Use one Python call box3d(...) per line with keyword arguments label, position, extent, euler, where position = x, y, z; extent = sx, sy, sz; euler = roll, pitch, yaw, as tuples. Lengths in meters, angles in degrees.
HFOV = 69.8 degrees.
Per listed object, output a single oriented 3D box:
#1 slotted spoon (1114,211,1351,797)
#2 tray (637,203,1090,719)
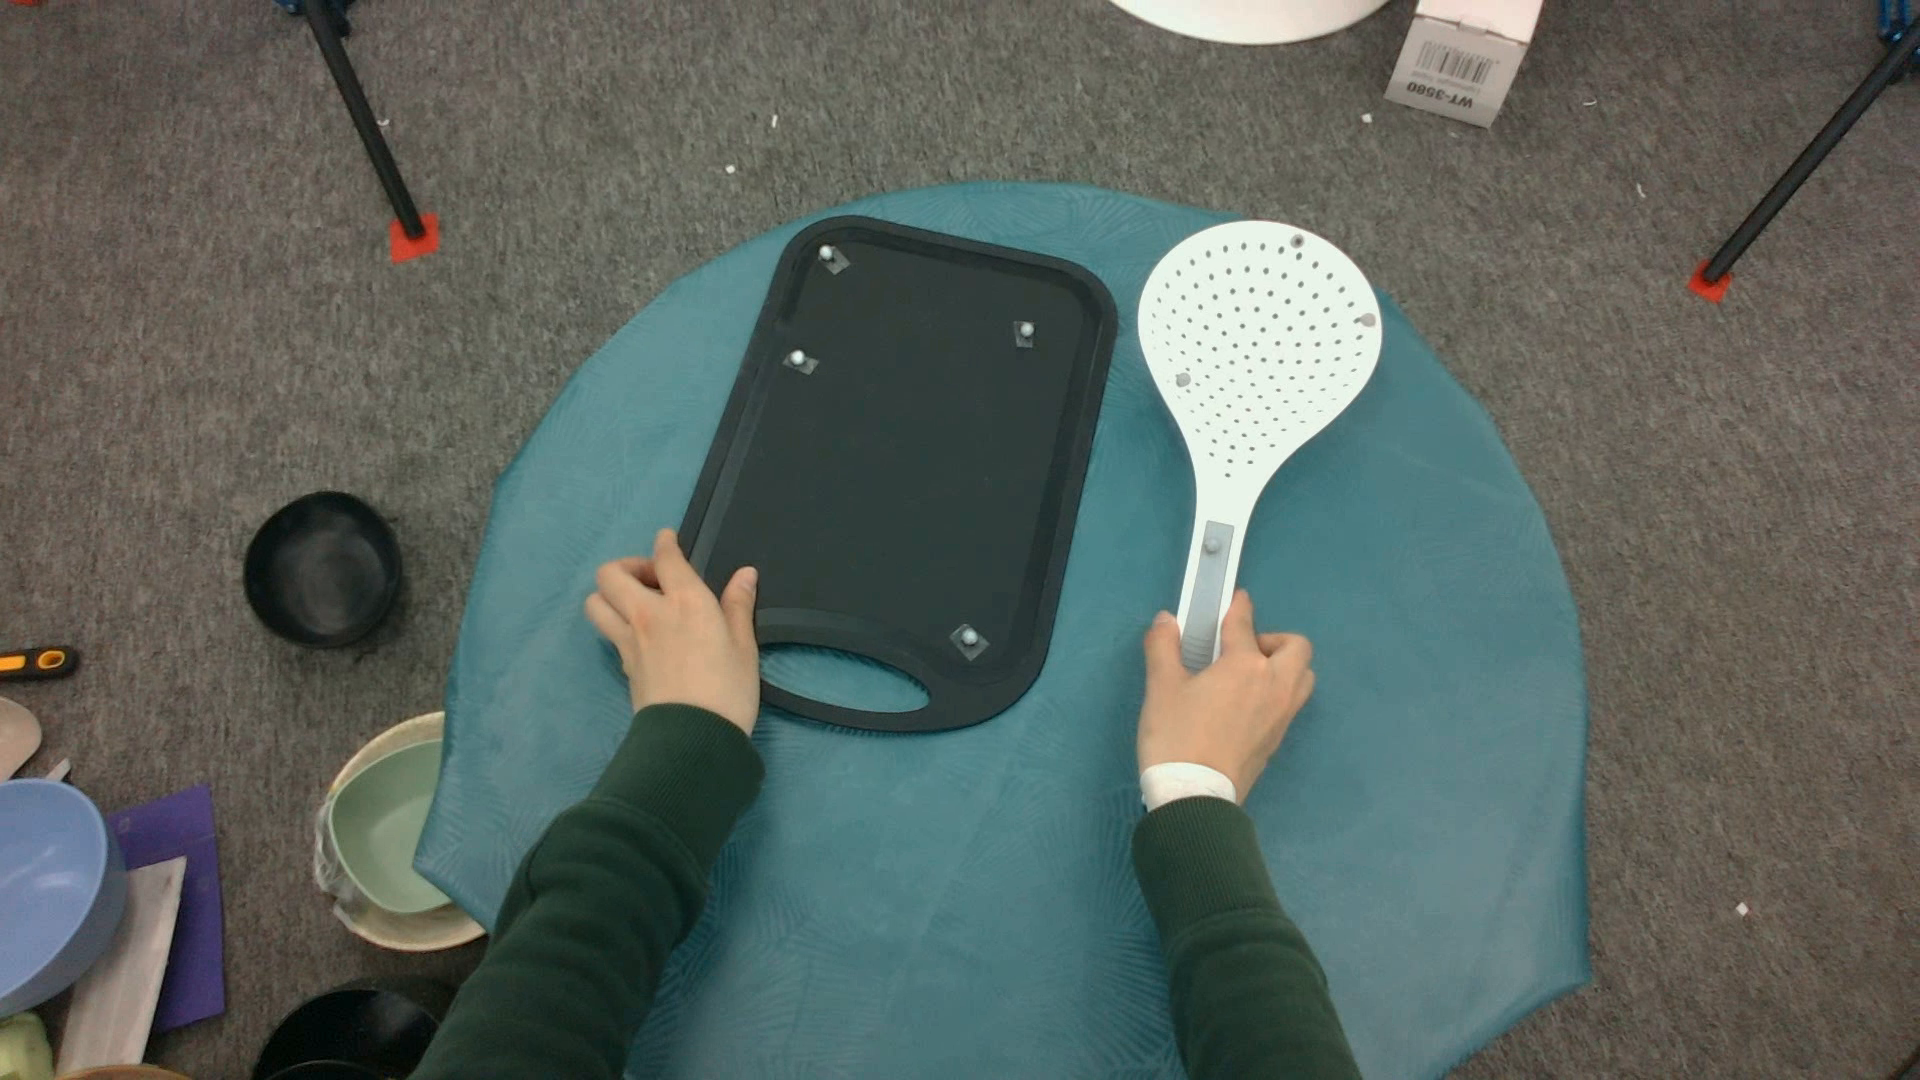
box3d(label="slotted spoon", position=(0.132, -0.031, 0.755), extent=(0.136, 0.045, 0.351), euler=(11, 64, 7))
box3d(label="tray", position=(-0.048, -0.055, 0.777), extent=(0.211, 0.010, 0.327), euler=(12, 63, 2))
